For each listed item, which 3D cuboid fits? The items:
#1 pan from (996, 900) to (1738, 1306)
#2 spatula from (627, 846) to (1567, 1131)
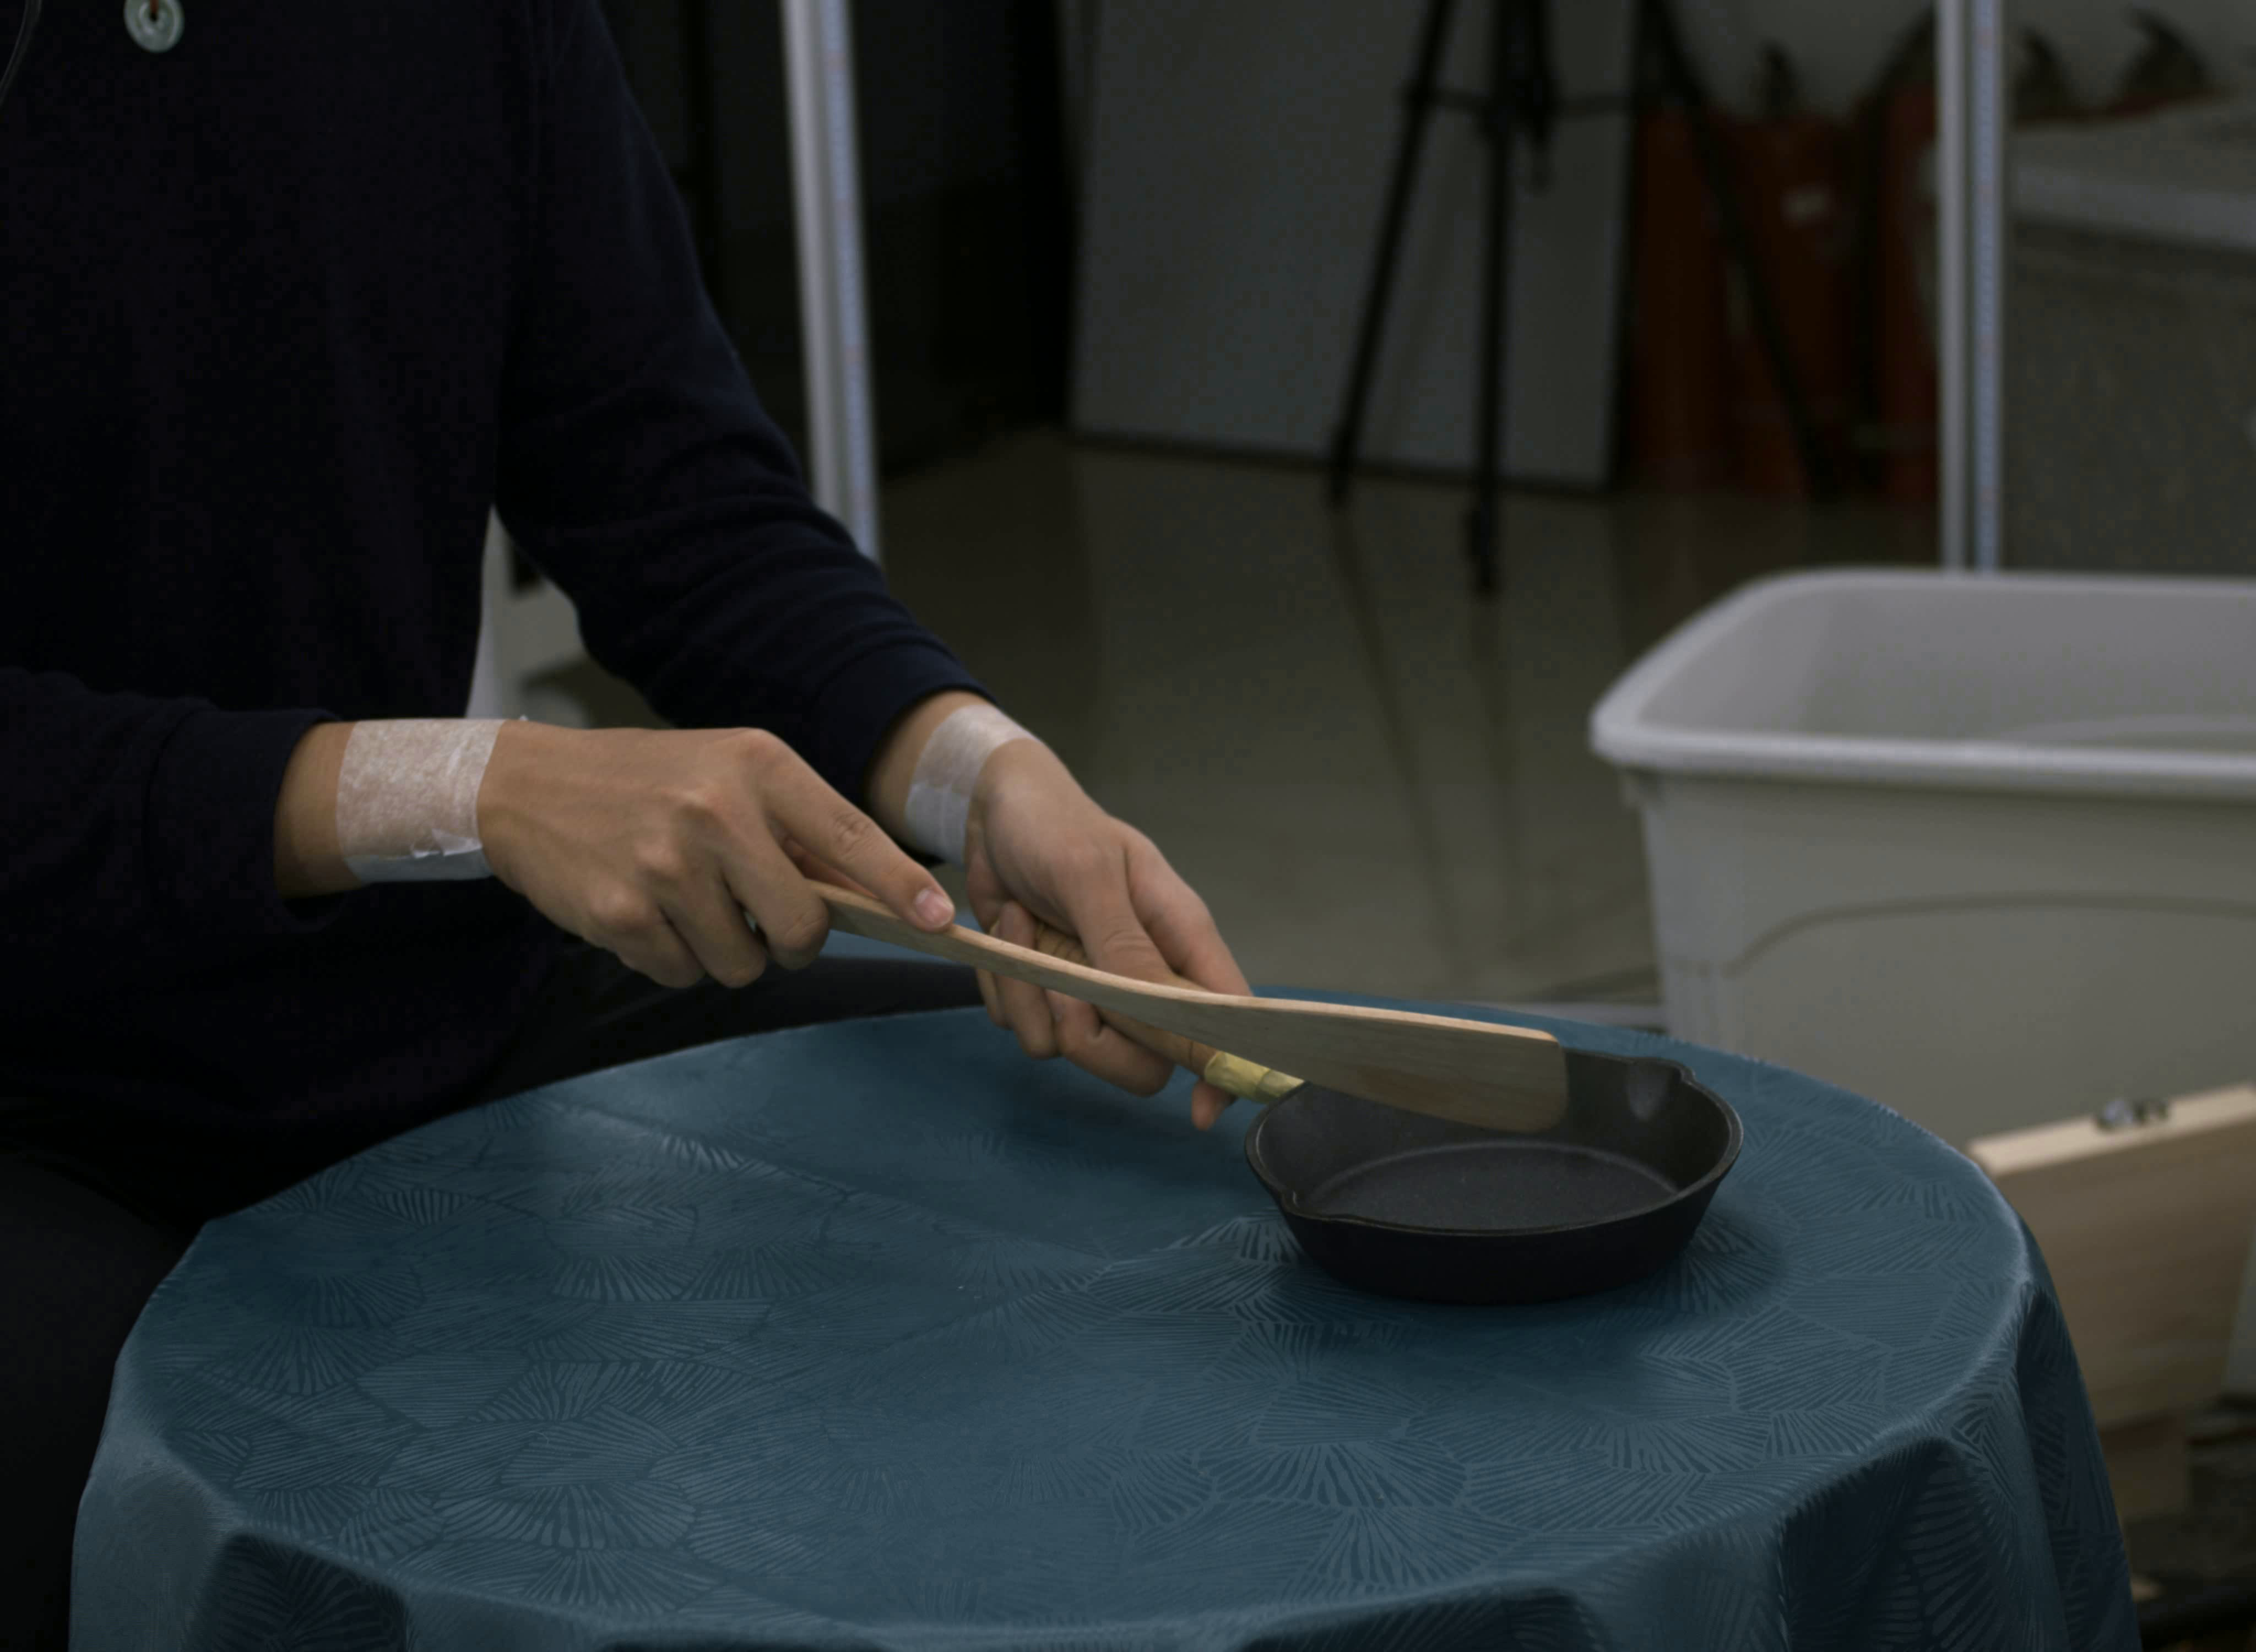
[{"bbox_3d":[0.062,0.085,1.753,0.165,0.050,0.327,-17,23,-35],"label":"pan"},{"bbox_3d":[-0.013,0.045,1.680,0.328,0.016,0.079,14,-25,23],"label":"spatula"}]
